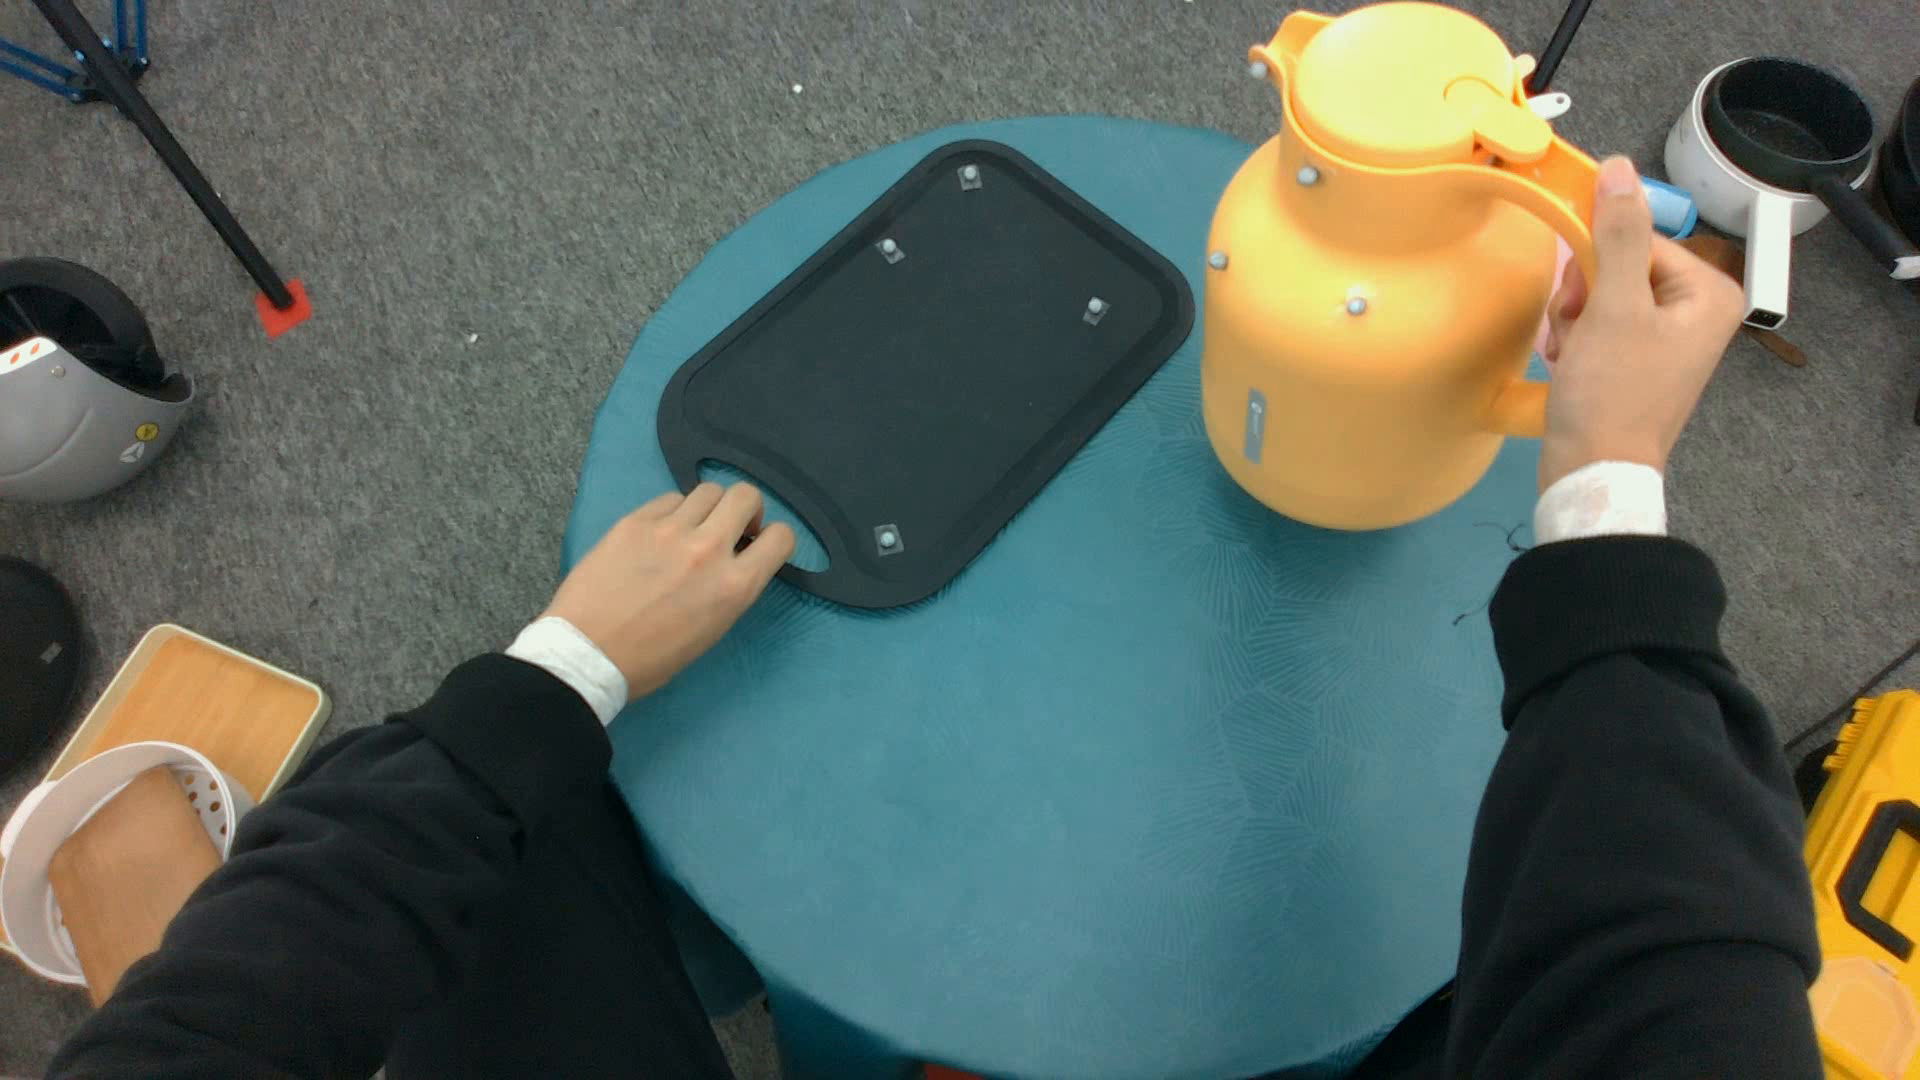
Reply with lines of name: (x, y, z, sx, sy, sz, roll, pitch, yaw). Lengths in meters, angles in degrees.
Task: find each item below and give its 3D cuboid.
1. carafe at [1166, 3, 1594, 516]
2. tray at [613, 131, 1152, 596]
carafe: (0.196, -0.122, 0.674, 0.164, 0.259, 0.202, -41, 62, -14)
tray: (-0.044, -0.113, 0.820, 0.211, 0.010, 0.326, 39, 67, 13)
